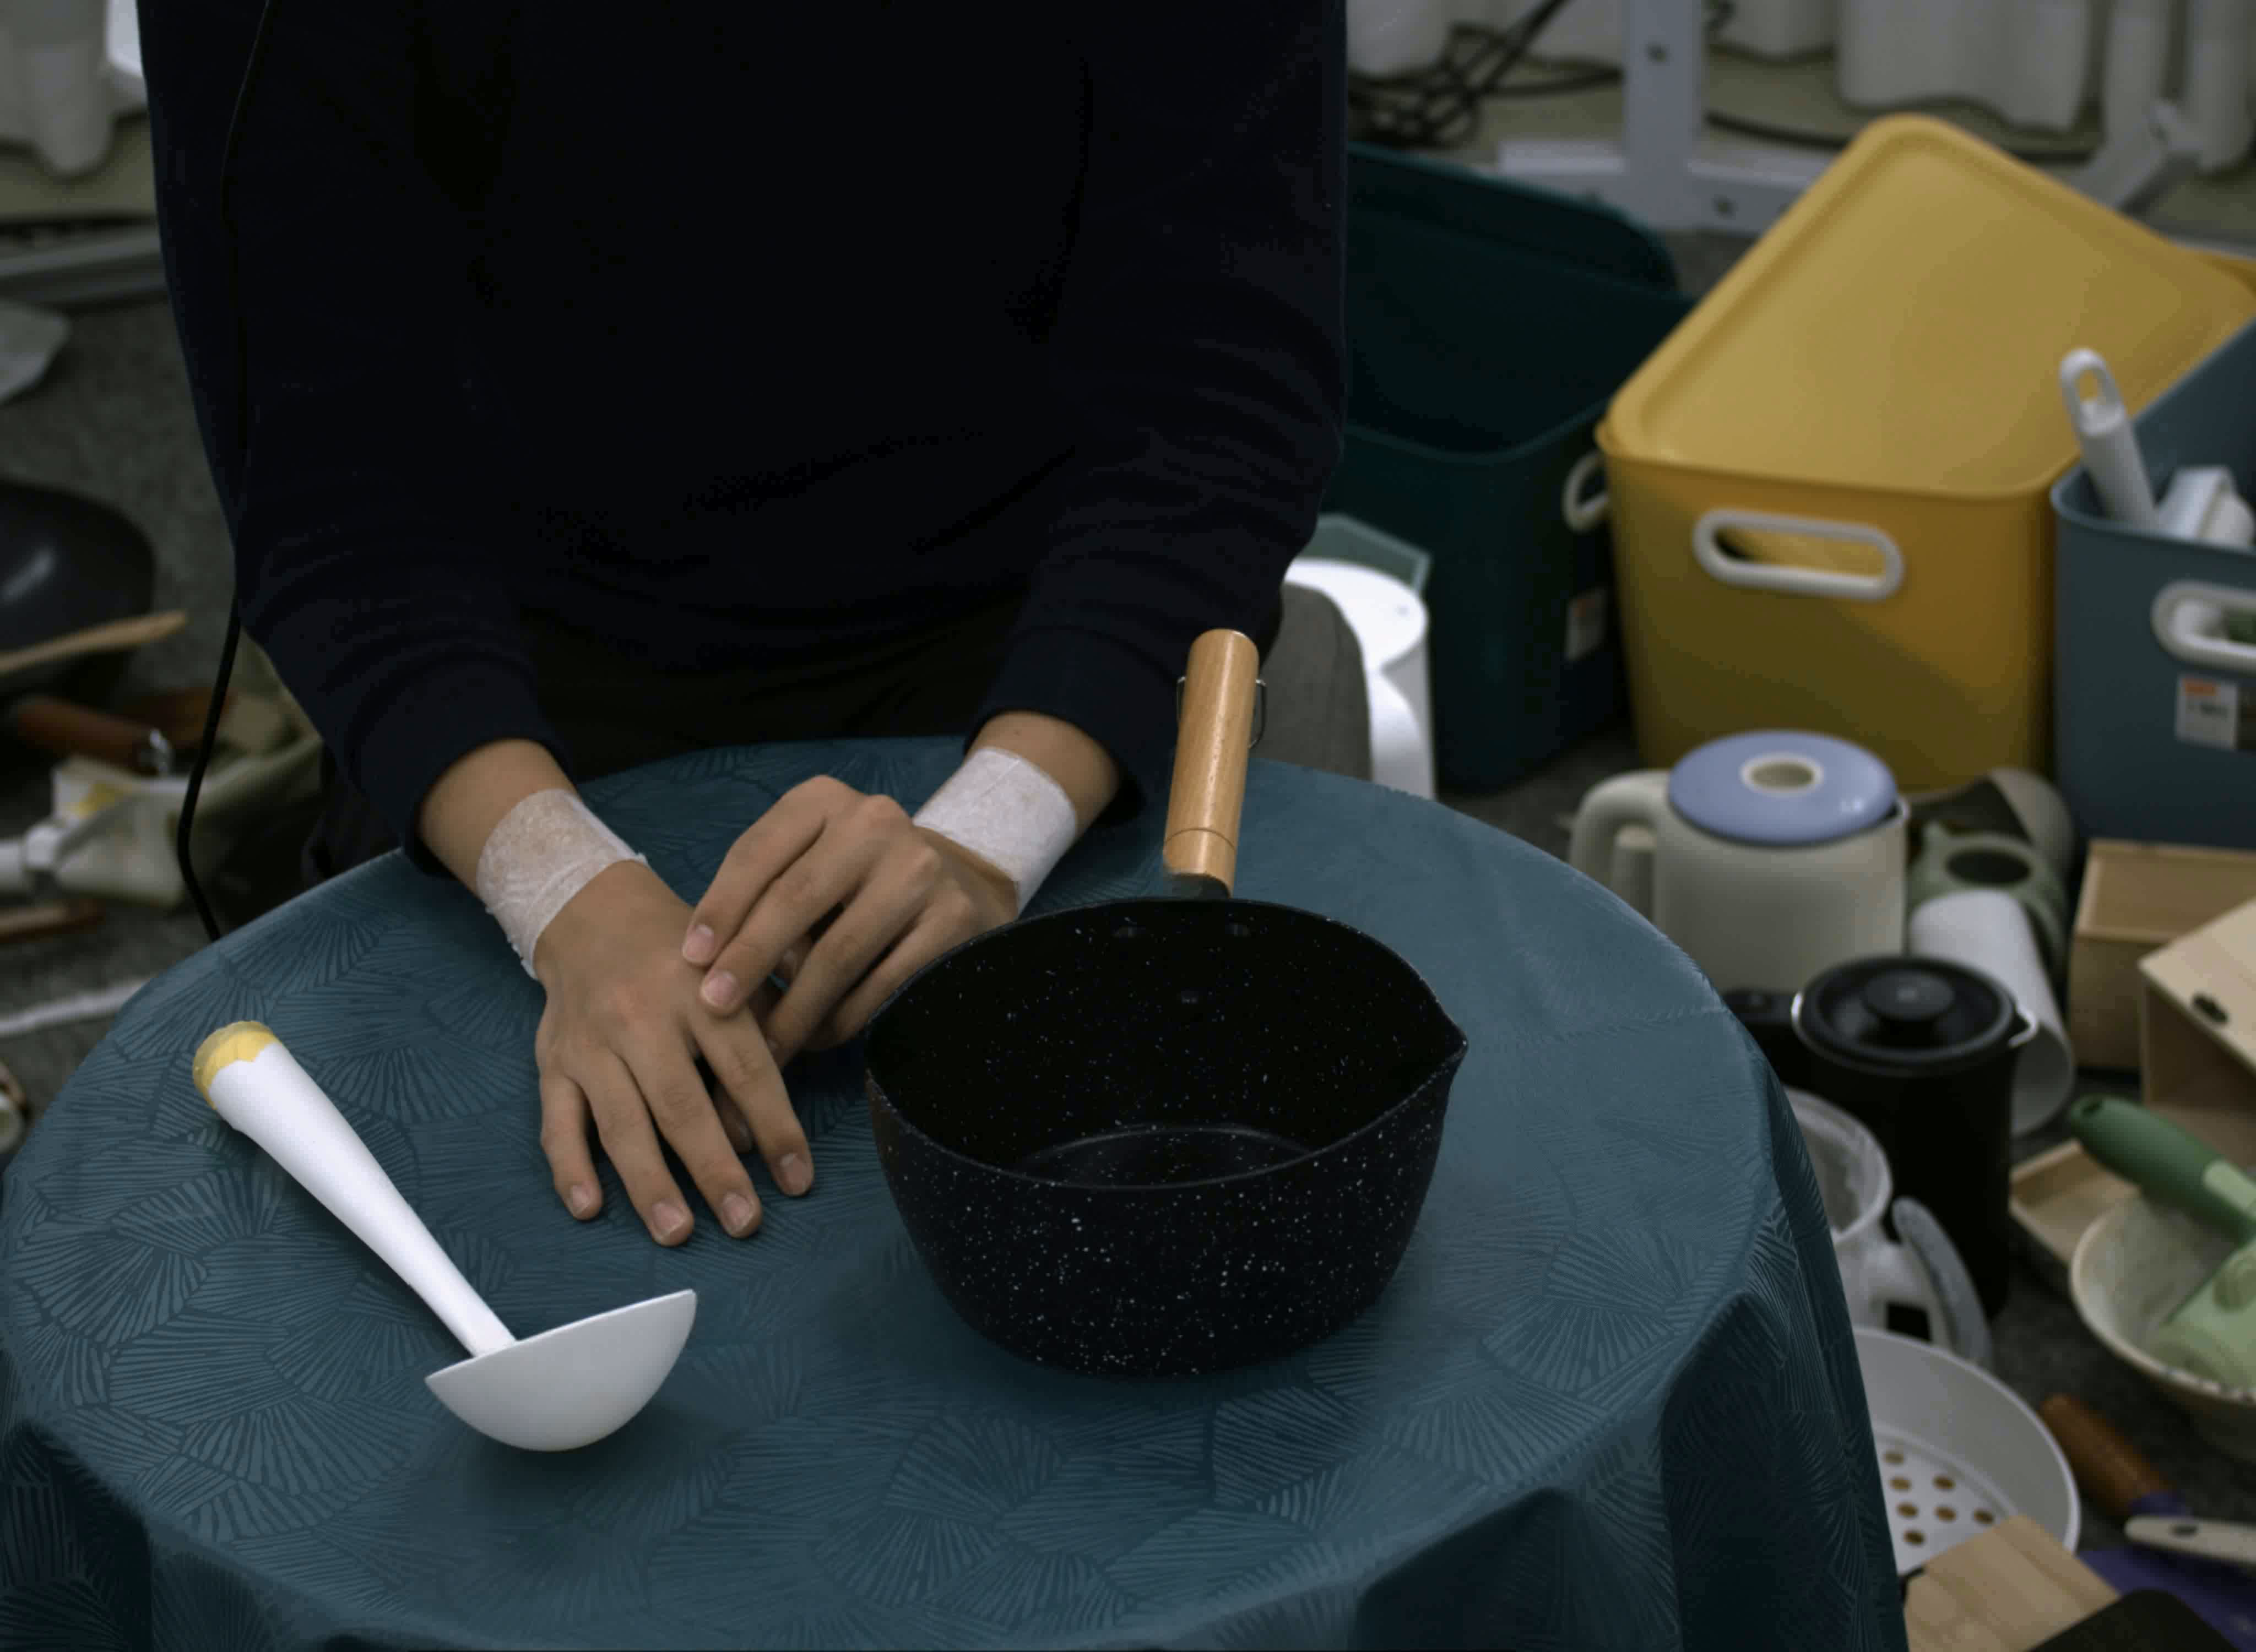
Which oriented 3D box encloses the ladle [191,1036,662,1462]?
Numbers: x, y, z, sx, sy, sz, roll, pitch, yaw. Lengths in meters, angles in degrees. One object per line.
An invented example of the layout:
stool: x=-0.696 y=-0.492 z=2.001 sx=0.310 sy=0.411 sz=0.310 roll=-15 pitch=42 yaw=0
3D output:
ladle: x=-0.239 y=0.125 z=1.811 sx=0.091 sy=0.069 sz=0.294 roll=-22 pitch=32 yaw=-22

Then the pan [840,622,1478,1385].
pan: x=0.017 y=0.055 z=1.872 sx=0.206 sy=0.107 sz=0.348 roll=-1 pitch=29 yaw=6
